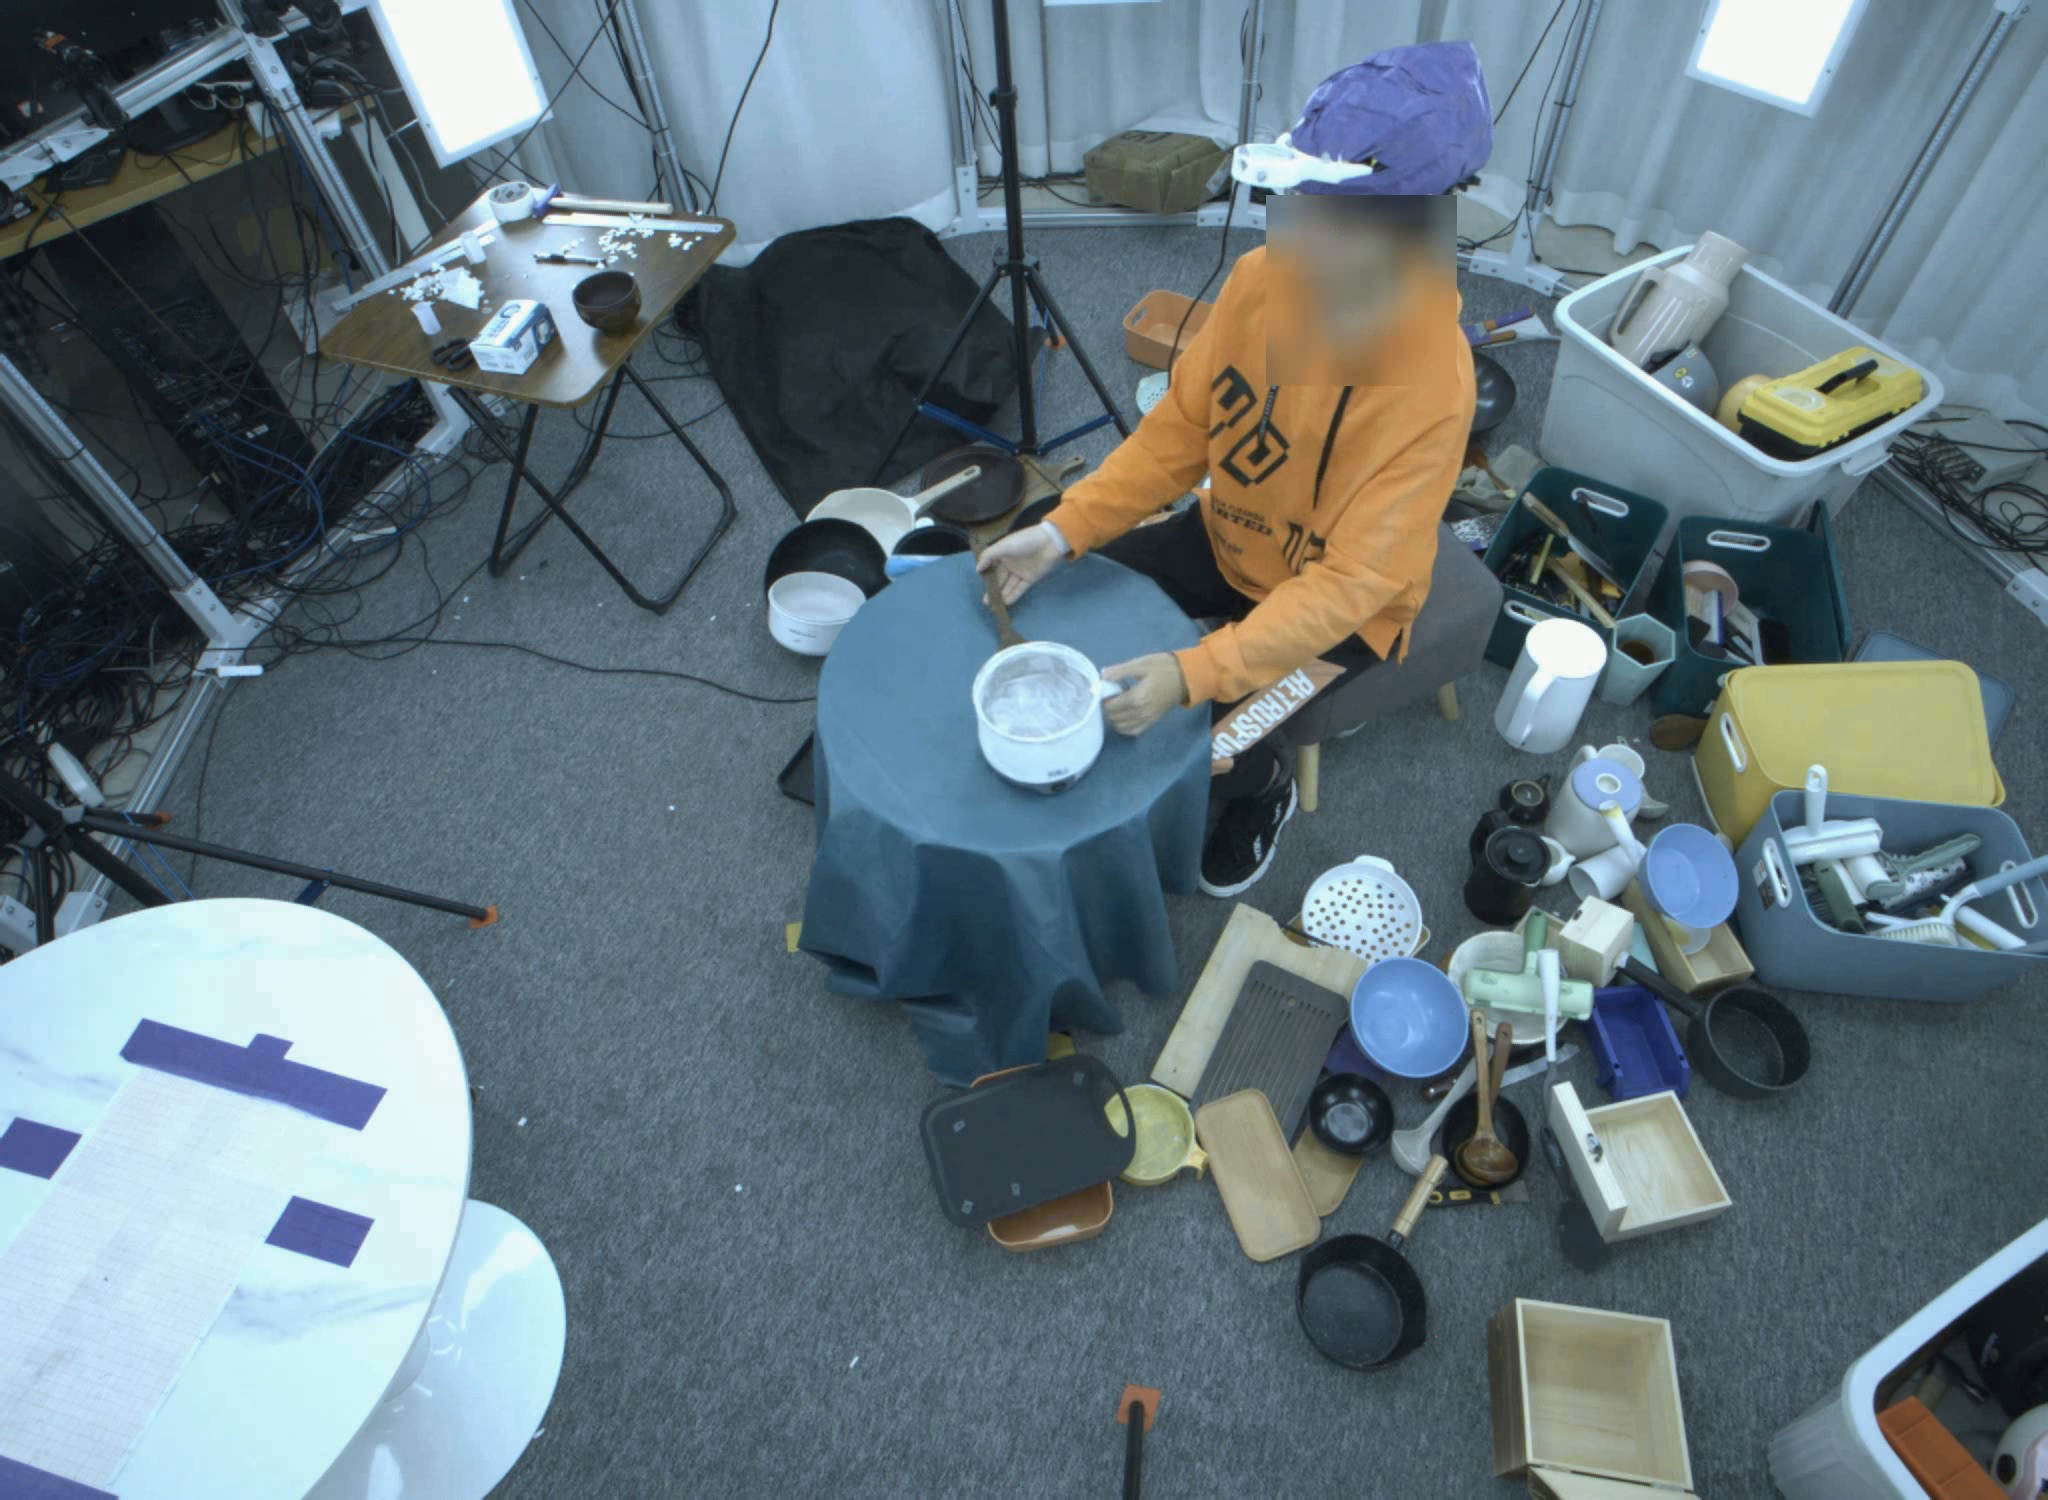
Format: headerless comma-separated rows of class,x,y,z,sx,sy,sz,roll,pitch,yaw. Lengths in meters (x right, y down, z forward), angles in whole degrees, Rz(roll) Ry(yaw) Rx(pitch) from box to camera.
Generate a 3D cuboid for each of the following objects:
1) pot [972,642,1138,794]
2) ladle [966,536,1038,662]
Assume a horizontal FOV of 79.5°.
pot,0.048,-0.052,1.737,0.235,0.138,0.176,-17,56,-8
ladle,-0.043,-0.235,1.891,0.076,0.072,0.271,-16,69,-7
